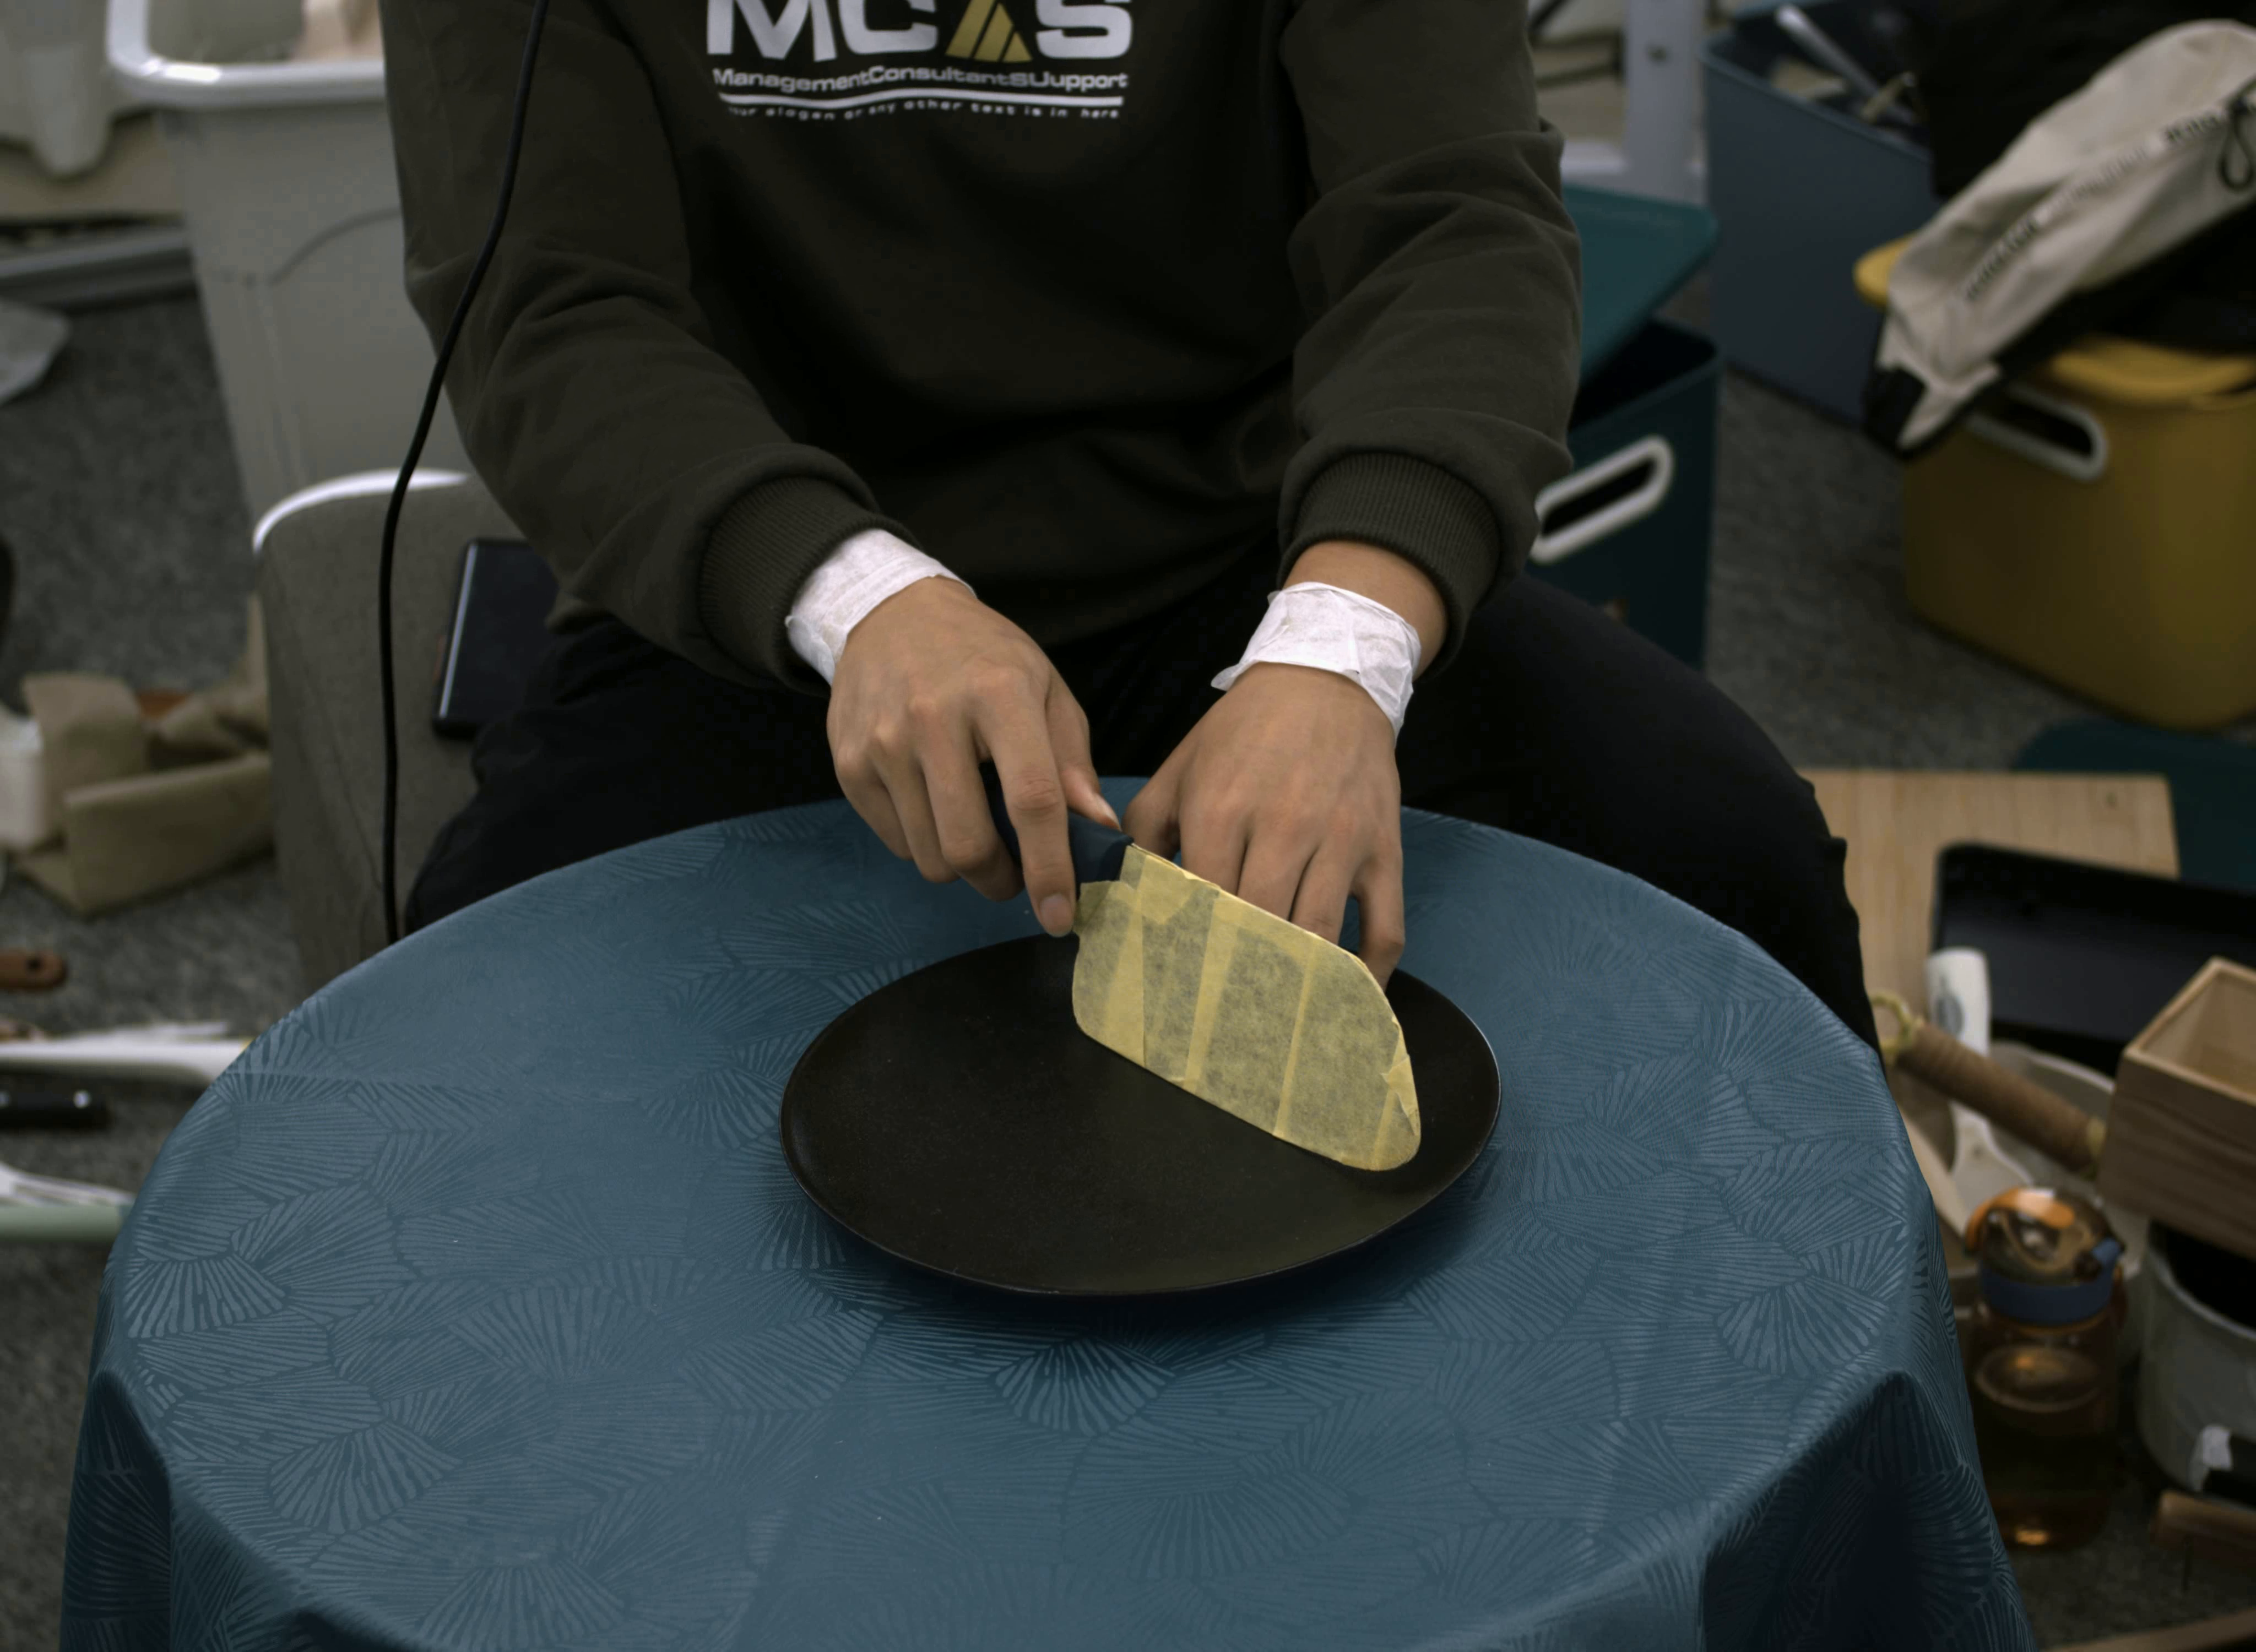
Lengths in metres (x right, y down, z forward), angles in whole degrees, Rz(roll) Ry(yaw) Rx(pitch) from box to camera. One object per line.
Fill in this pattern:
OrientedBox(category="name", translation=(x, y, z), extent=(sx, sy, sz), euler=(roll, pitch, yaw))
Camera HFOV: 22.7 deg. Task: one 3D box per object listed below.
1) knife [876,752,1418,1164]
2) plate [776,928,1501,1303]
OrientedBox(category="knife", translation=(0.003, 0.042, 1.919), extent=(0.027, 0.080, 0.290), euler=(2, 21, -43))
OrientedBox(category="plate", translation=(0.003, 0.100, 1.878), extent=(0.243, 0.023, 0.248), euler=(-2, 27, 1))
